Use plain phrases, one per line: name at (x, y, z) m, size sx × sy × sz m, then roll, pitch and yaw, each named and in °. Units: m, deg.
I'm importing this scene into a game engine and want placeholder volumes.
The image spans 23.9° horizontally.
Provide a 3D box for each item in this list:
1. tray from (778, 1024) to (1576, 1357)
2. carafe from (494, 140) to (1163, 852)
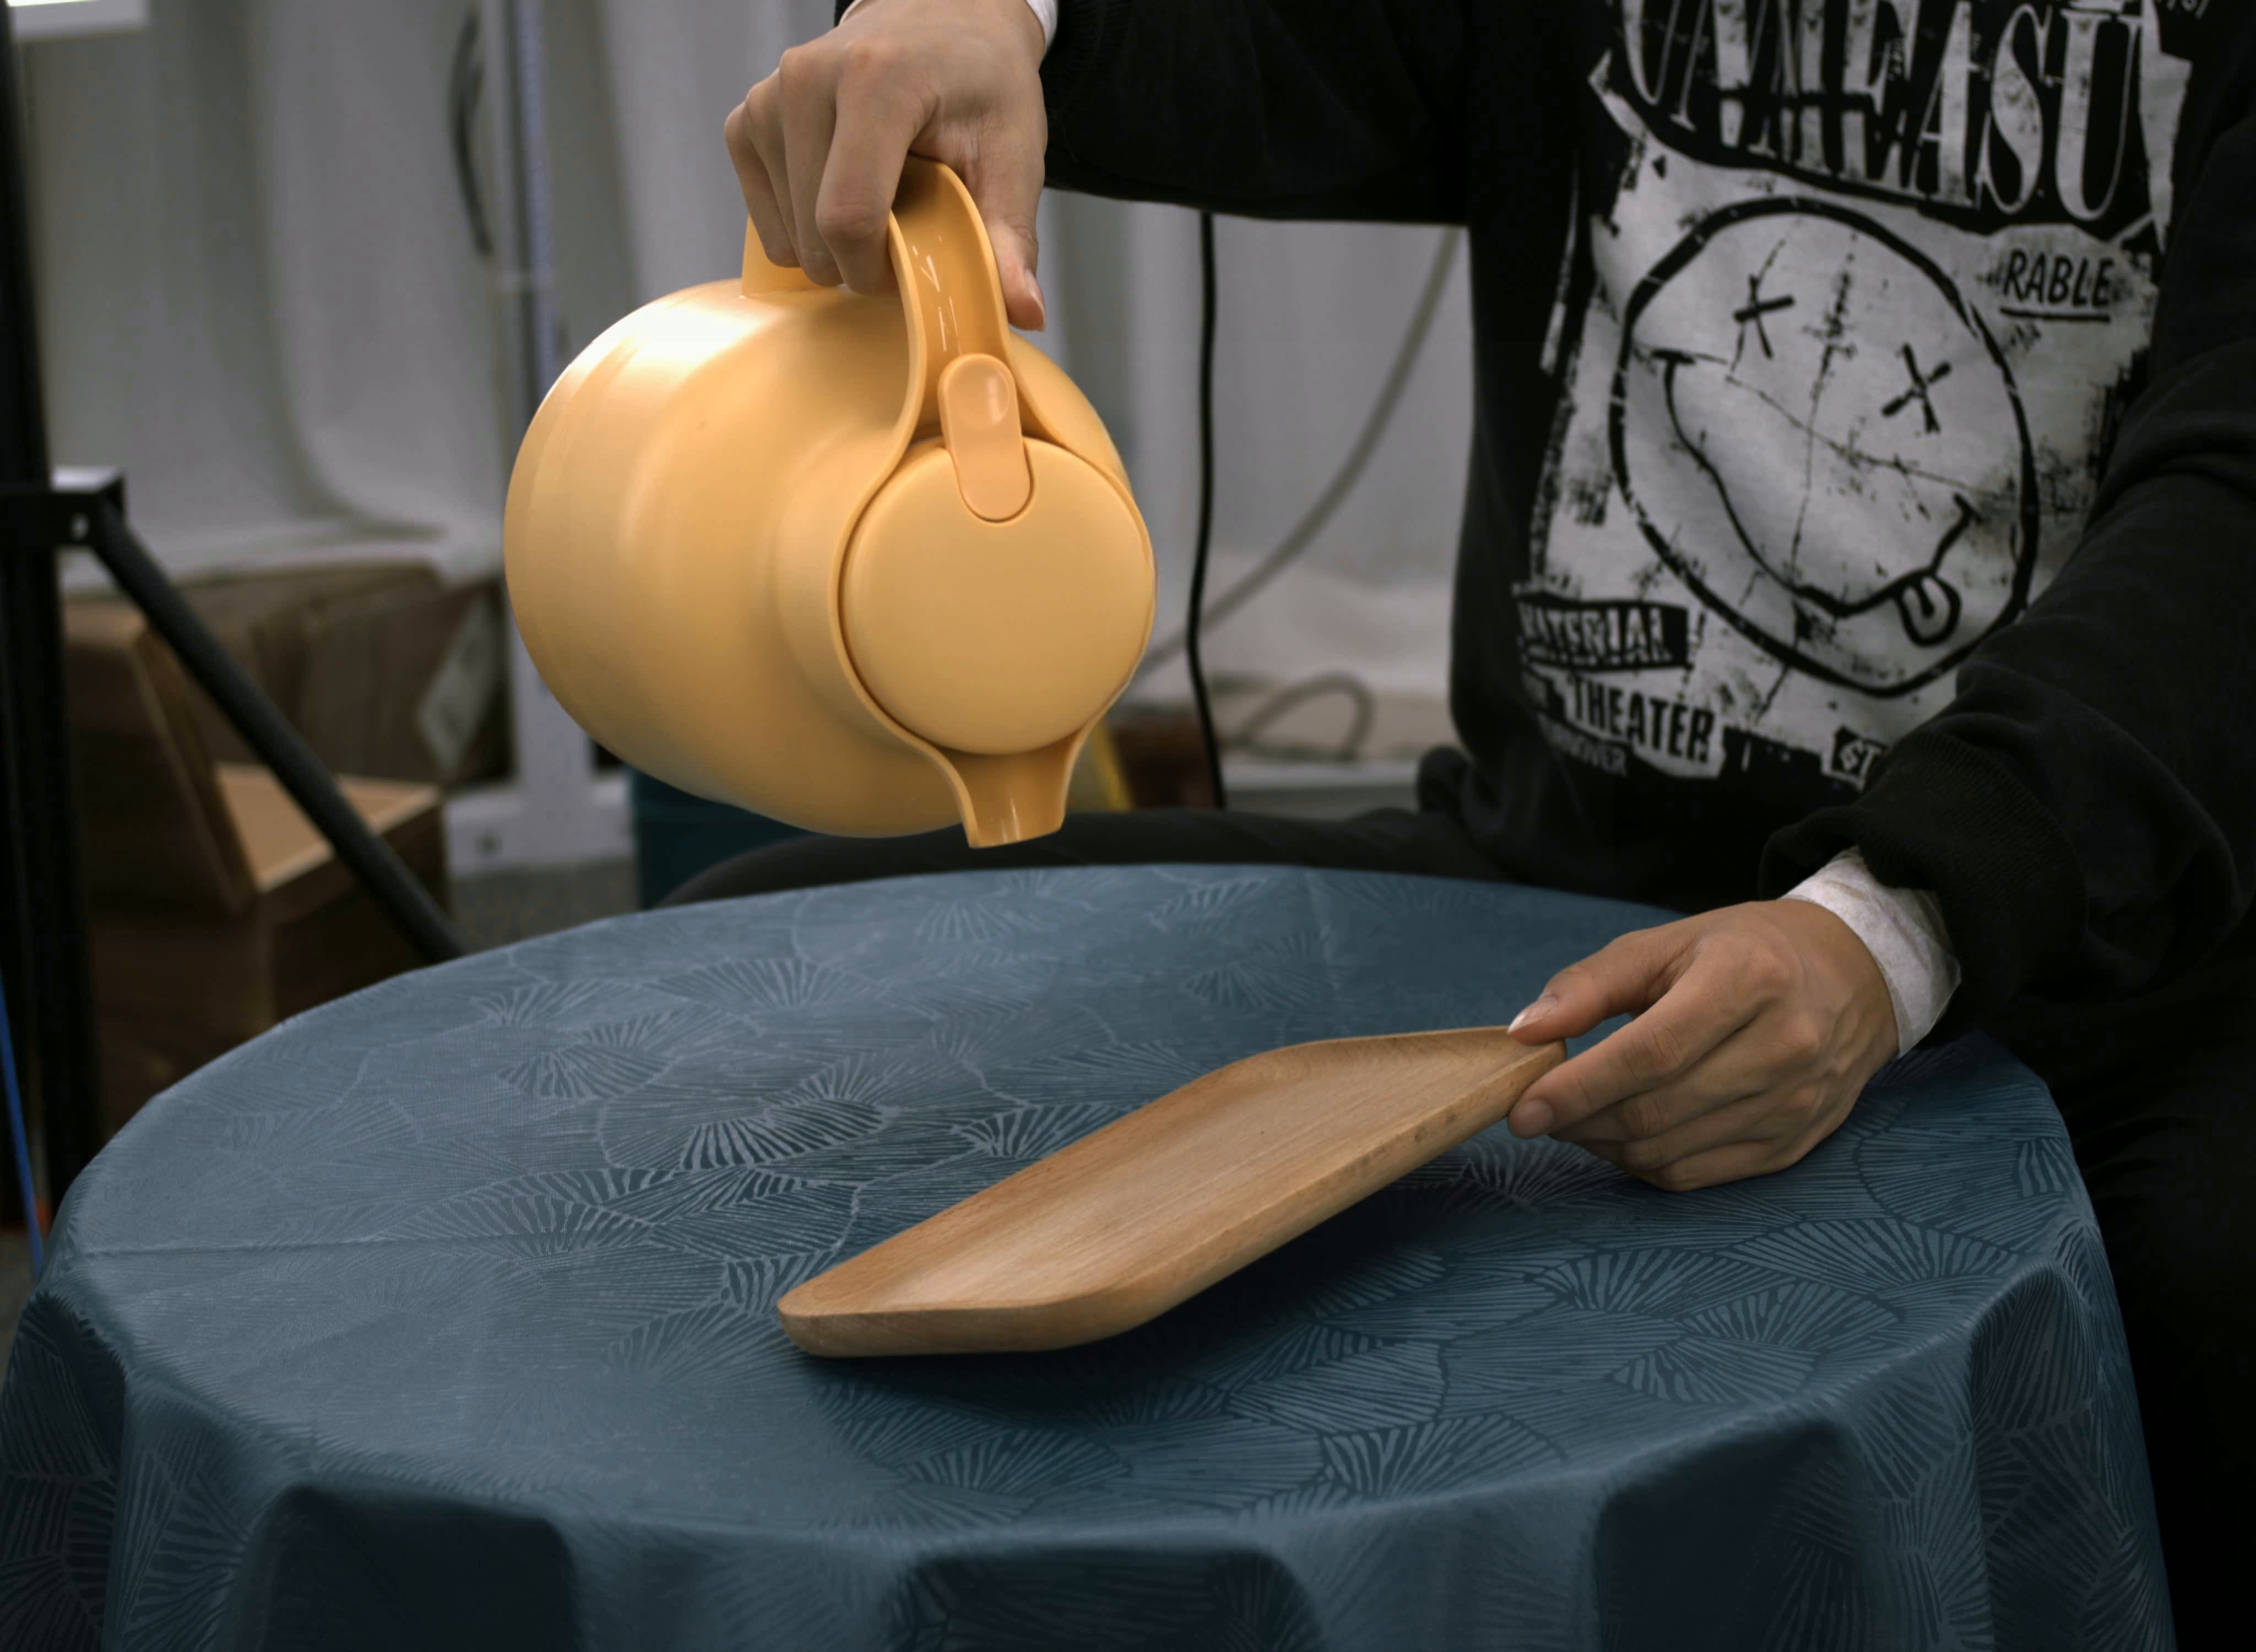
tray at (0.019, 0.101, 1.490) m, size 0.133 × 0.023 × 0.245 m, roll -3°, pitch 13°, yaw 40°
carafe at (-0.079, -0.098, 1.565) m, size 0.160 × 0.203 × 0.265 m, roll -7°, pitch 10°, yaw -23°
